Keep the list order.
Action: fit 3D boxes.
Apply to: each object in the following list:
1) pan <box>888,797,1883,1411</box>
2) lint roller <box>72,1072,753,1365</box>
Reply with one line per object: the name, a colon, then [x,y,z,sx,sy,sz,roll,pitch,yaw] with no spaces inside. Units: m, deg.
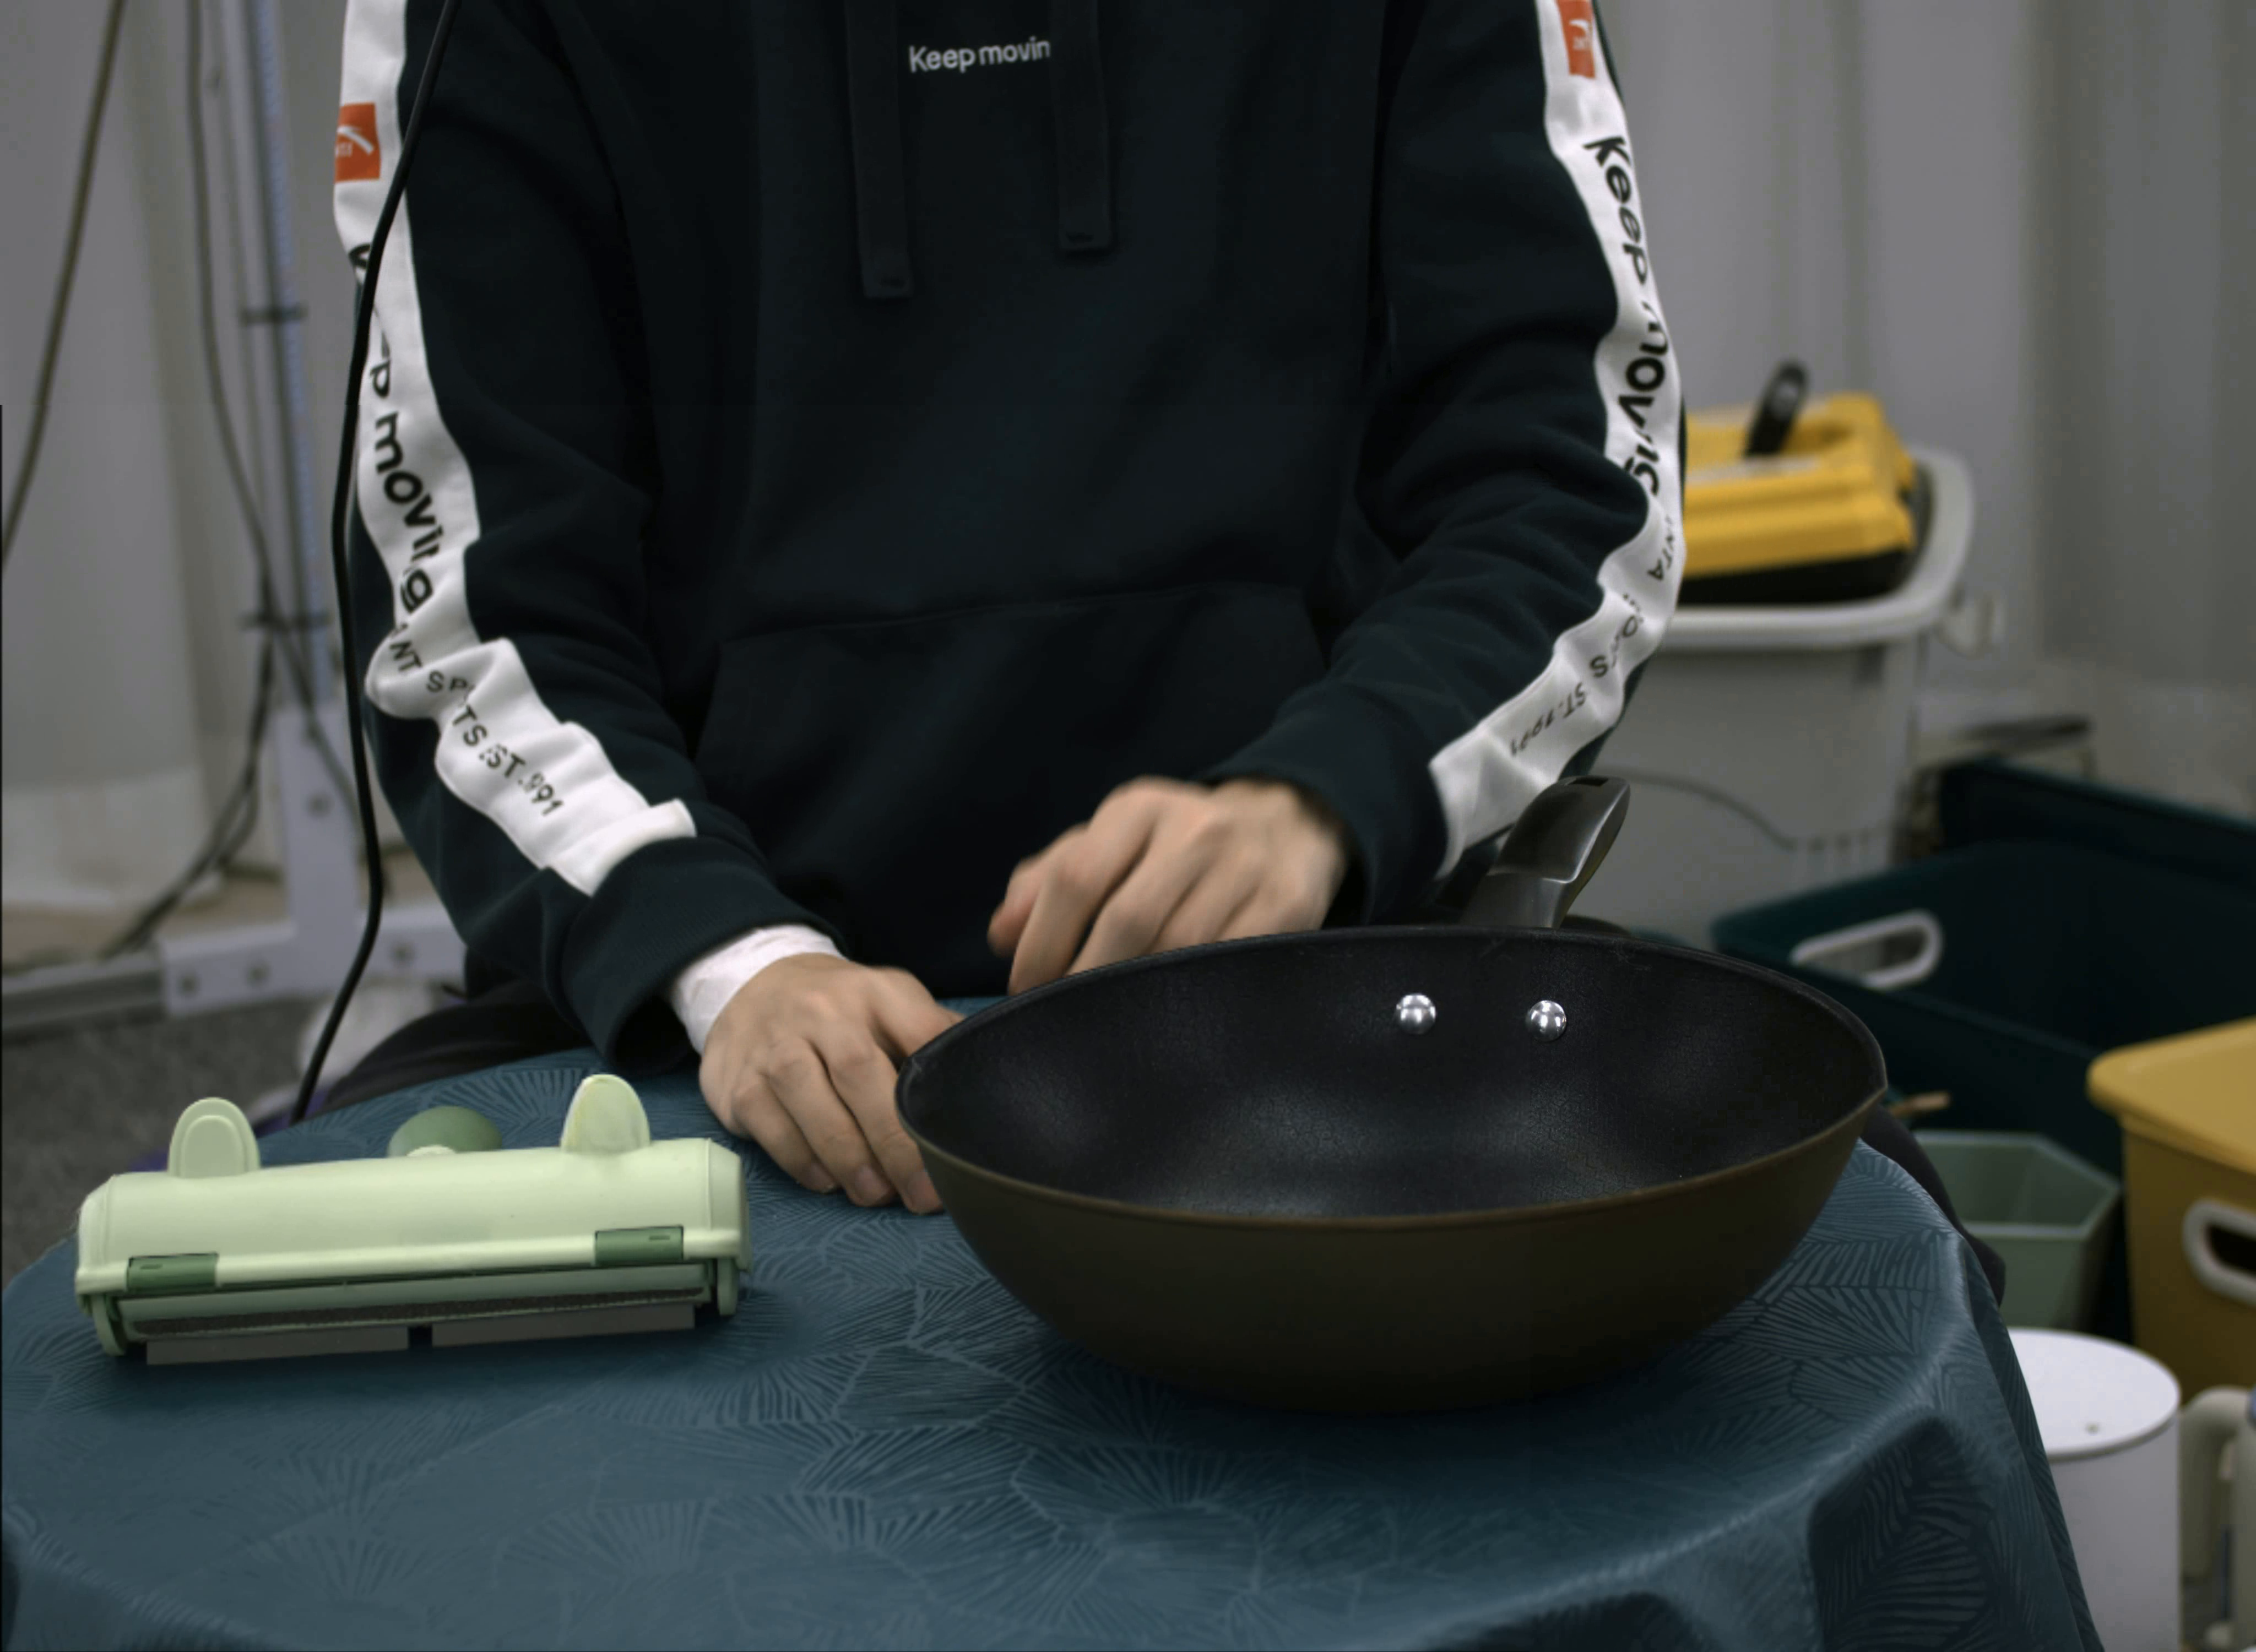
pan: [0.098,0.082,1.659,0.288,0.086,0.465,1,14,16]
lint roller: [-0.213,0.100,1.668,0.198,0.081,0.185,-4,20,-1]
